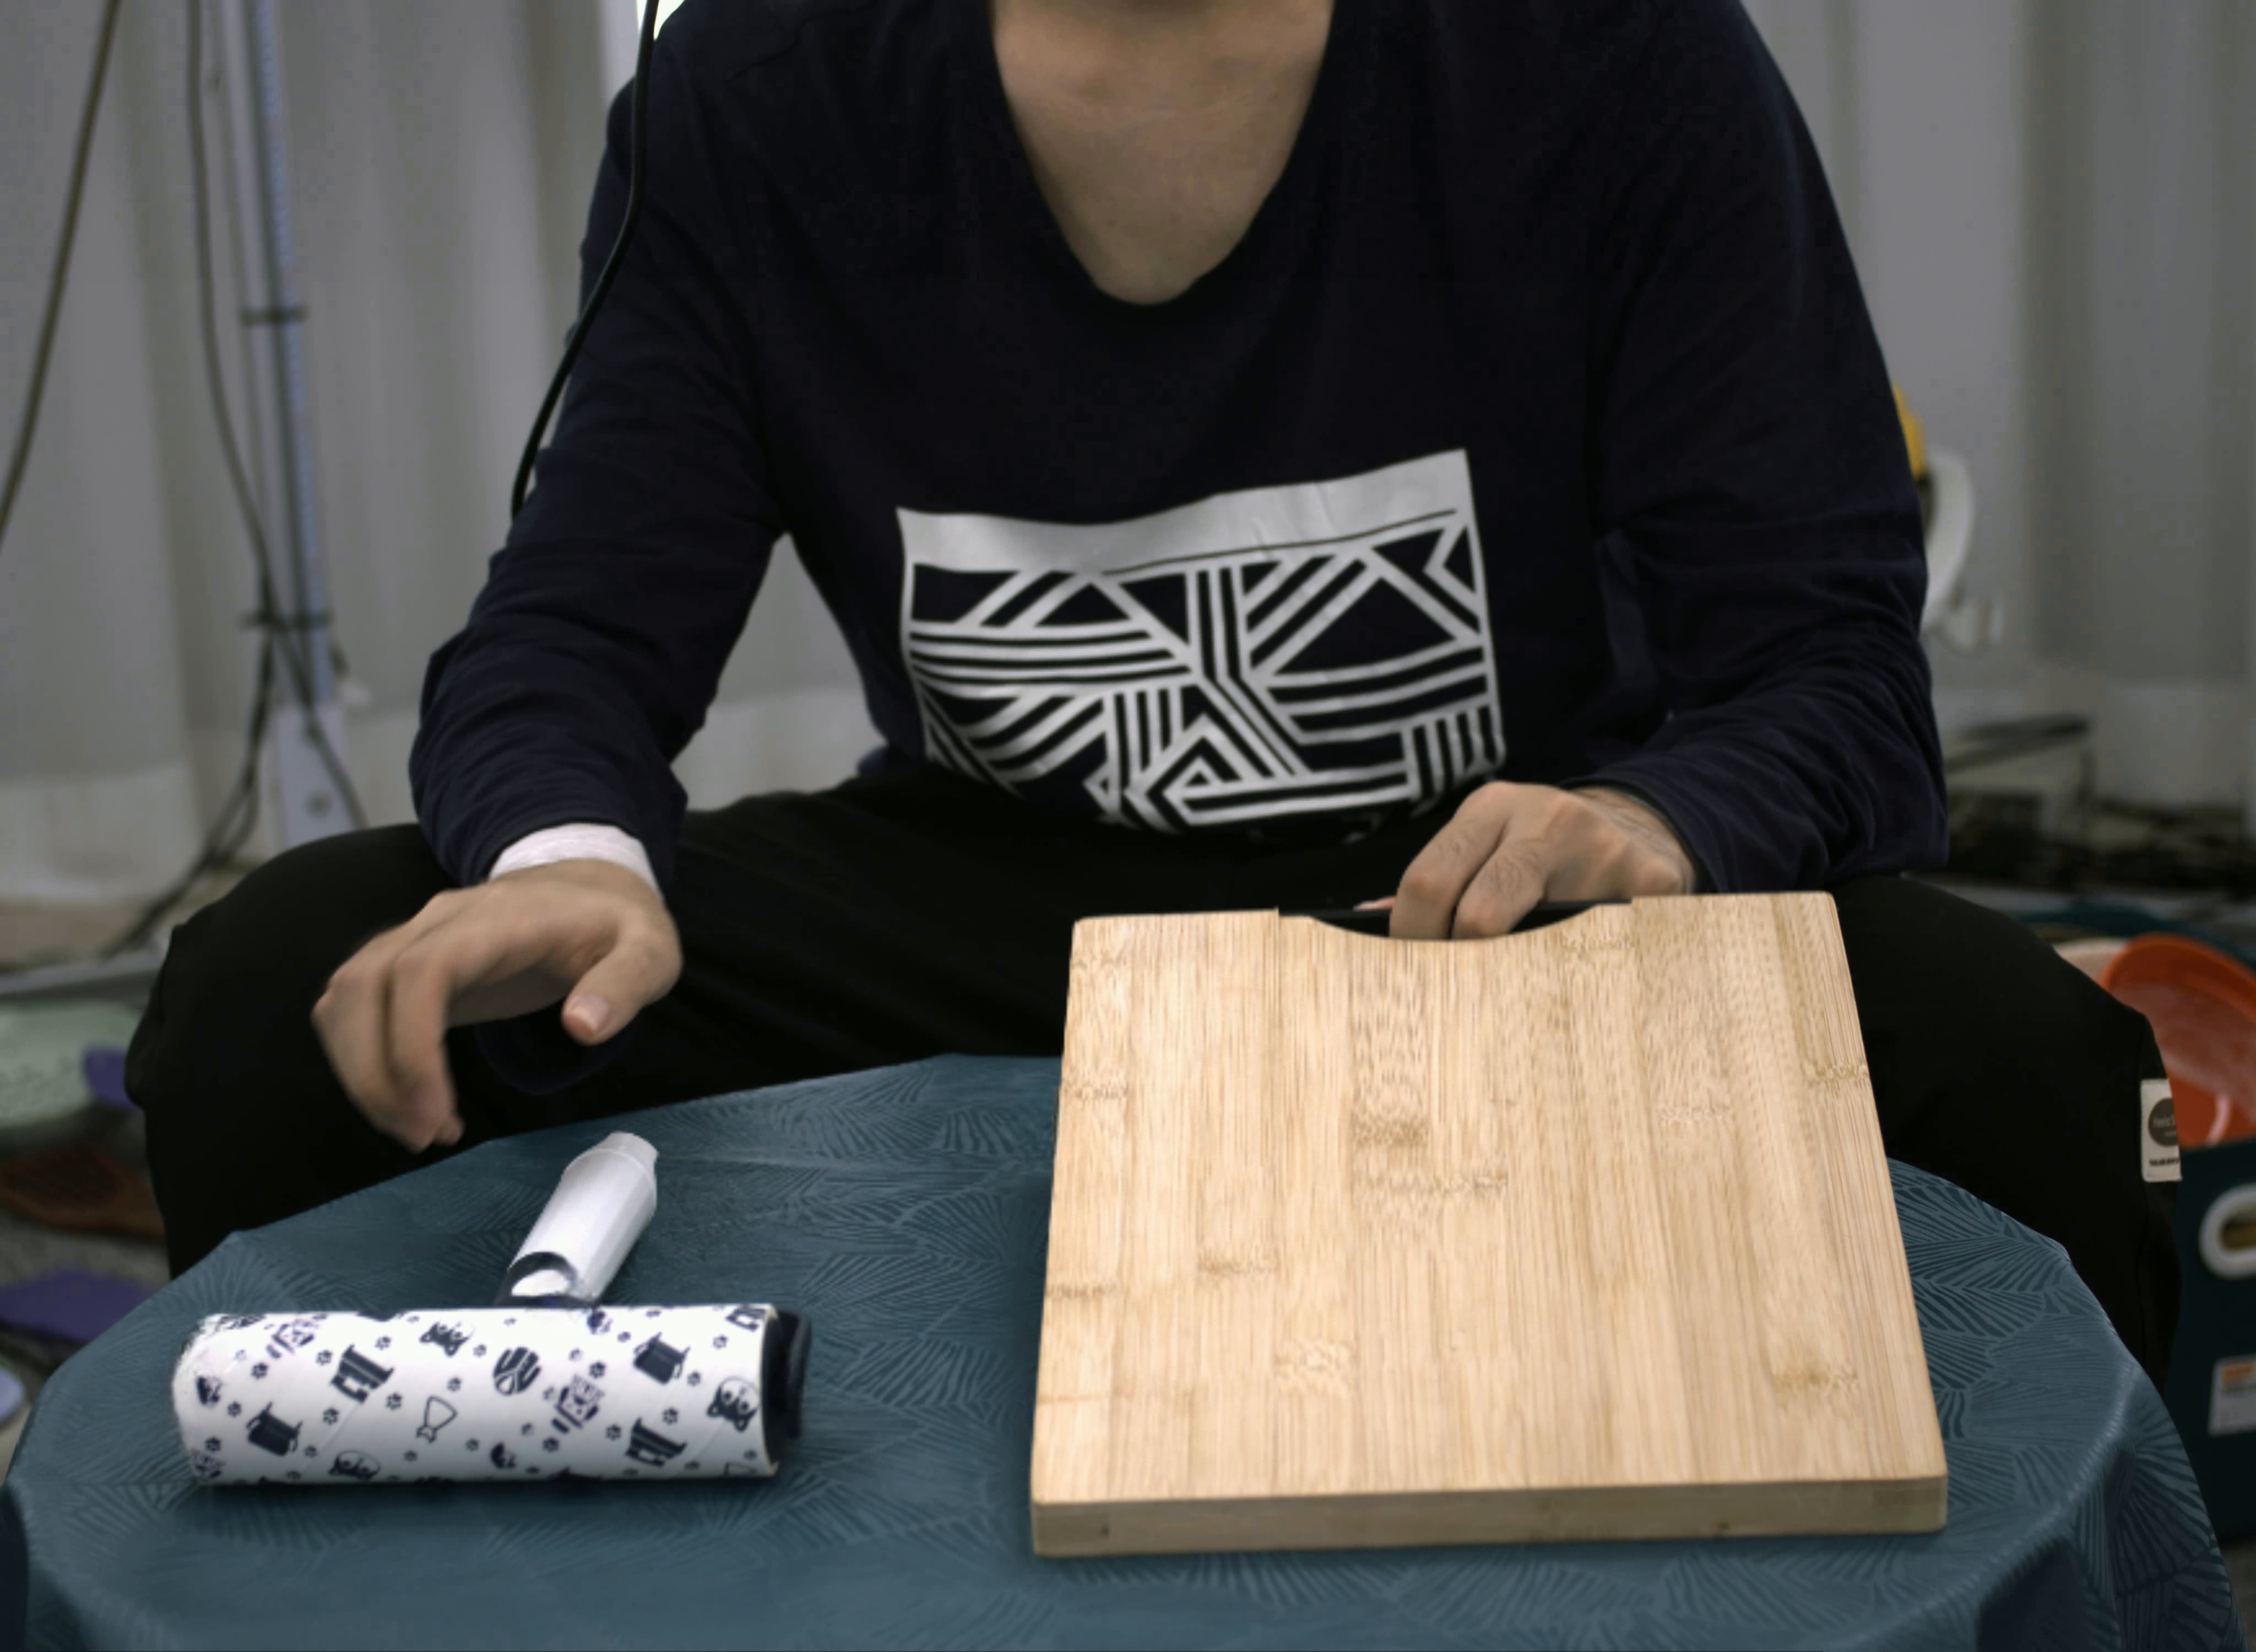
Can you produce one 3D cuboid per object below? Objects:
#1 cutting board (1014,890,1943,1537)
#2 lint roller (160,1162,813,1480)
[{"bbox_3d":[0.098,0.106,1.579,0.250,0.023,0.352,-2,25,2],"label":"cutting board"},{"bbox_3d":[-0.170,0.133,1.601,0.176,0.050,0.248,-3,12,4],"label":"lint roller"}]
